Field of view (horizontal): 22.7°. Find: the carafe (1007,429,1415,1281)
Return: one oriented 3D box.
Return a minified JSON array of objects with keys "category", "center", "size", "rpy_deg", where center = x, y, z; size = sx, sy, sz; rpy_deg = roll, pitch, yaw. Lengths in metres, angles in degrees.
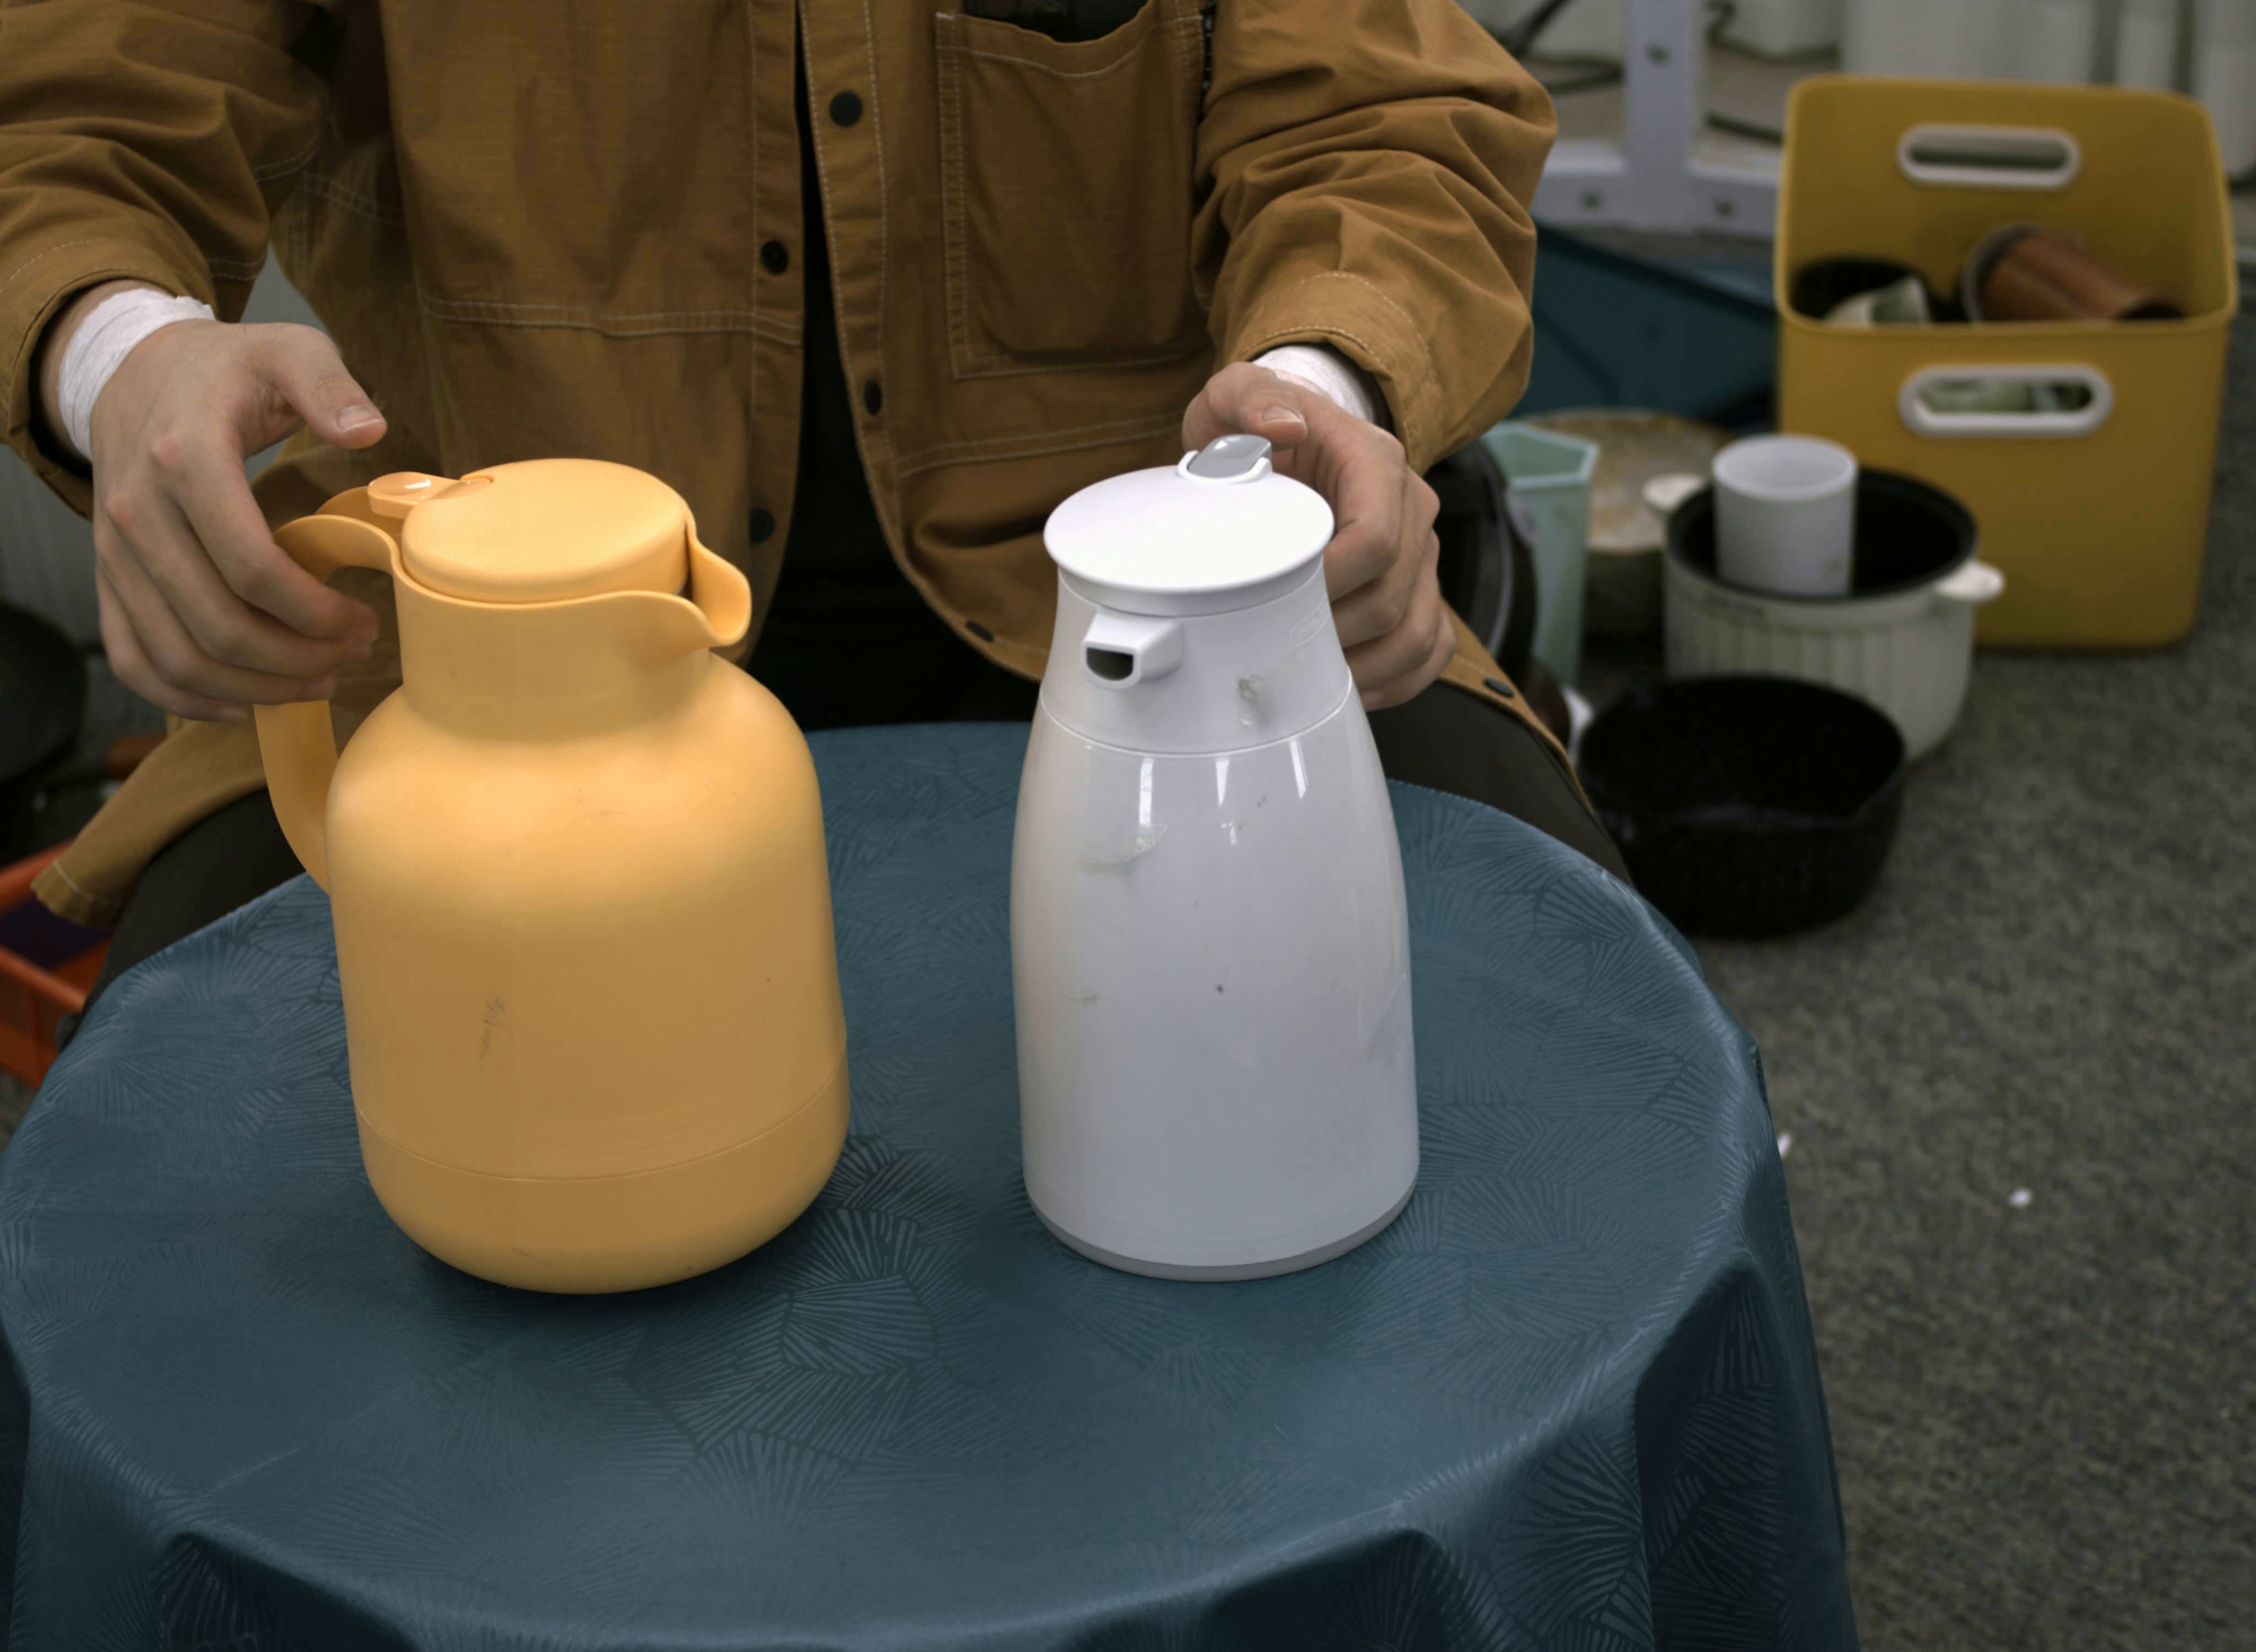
[{"category":"carafe","center":[0.031,-0.001,1.828],"size":[0.131,0.246,0.170],"rpy_deg":[8,28,22]}]

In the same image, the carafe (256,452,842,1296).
[{"category":"carafe","center":[-0.192,0.006,1.823],"size":[0.201,0.258,0.166],"rpy_deg":[16,30,31]}]
